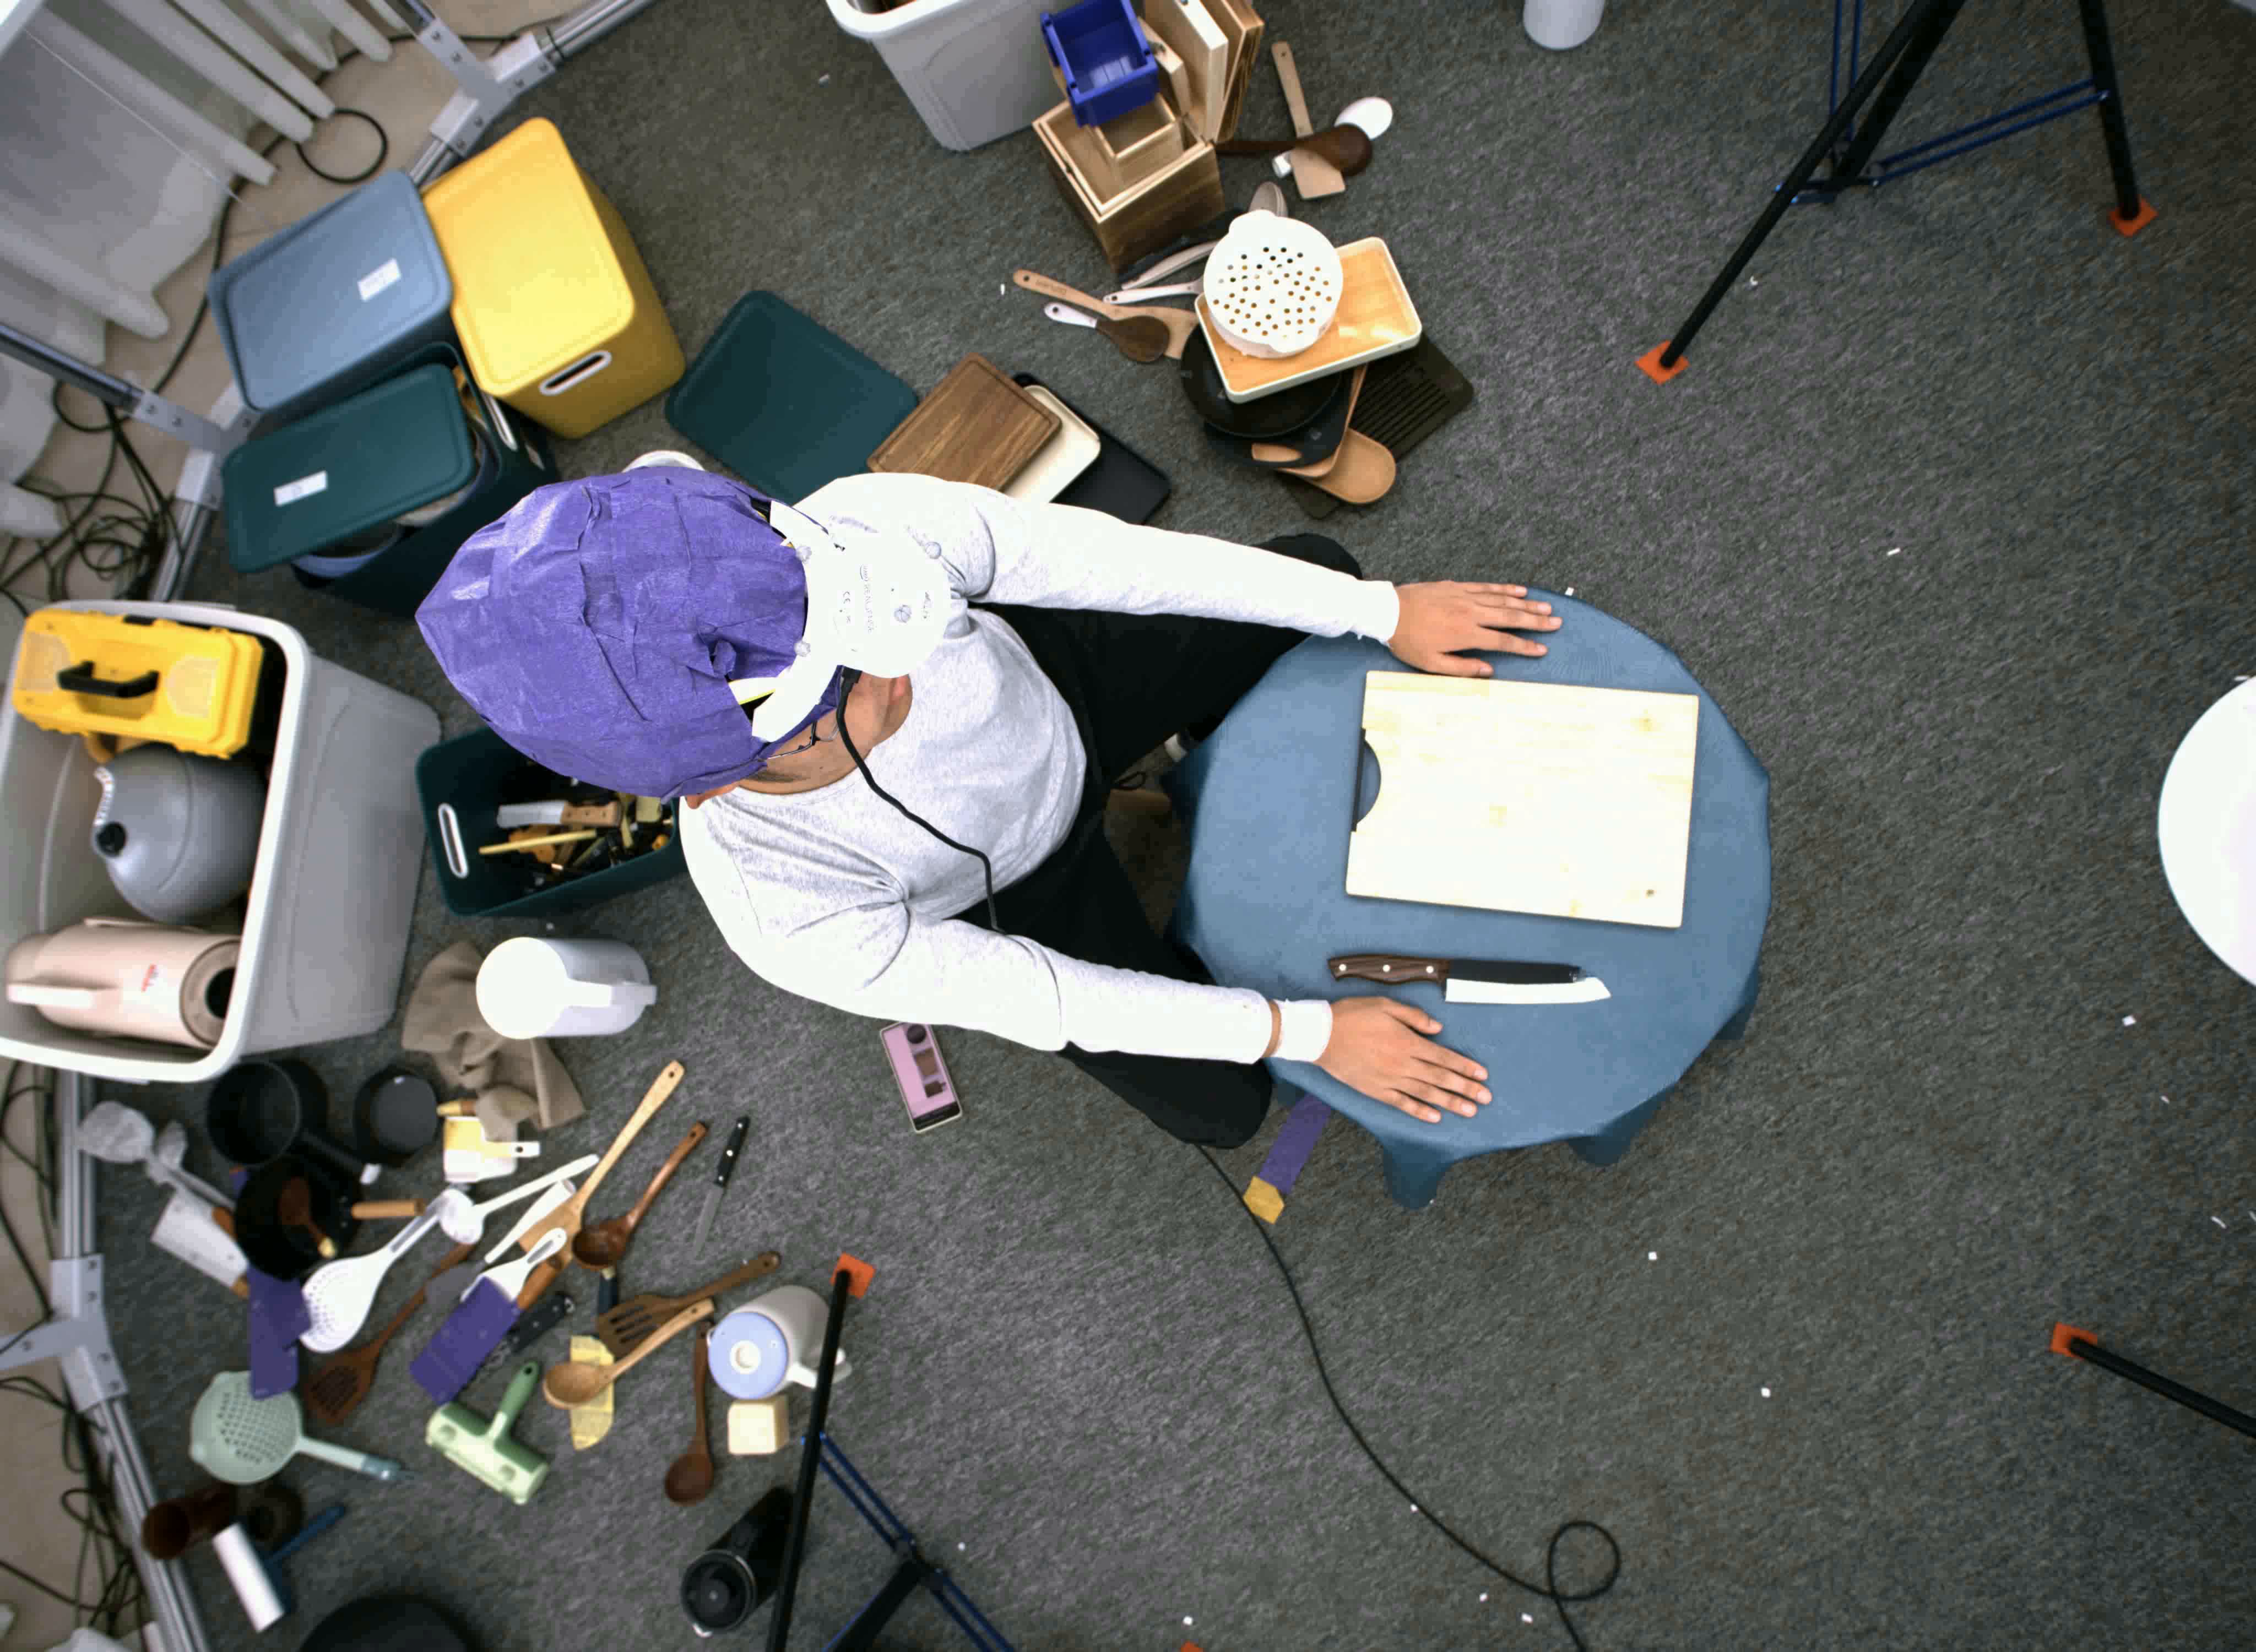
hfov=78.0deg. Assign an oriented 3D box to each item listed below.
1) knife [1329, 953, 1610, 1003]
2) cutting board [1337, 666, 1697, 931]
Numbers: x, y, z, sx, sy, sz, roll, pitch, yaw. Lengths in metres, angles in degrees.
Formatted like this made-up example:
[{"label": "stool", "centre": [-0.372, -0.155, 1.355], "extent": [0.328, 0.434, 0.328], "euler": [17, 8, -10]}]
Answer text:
[{"label": "knife", "centre": [0.353, 0.156, 1.432], "extent": [0.290, 0.020, 0.050], "euler": [4, 92, 9]}, {"label": "cutting board", "centre": [0.403, -0.034, 1.433], "extent": [0.350, 0.023, 0.250], "euler": [5, 87, 11]}]
